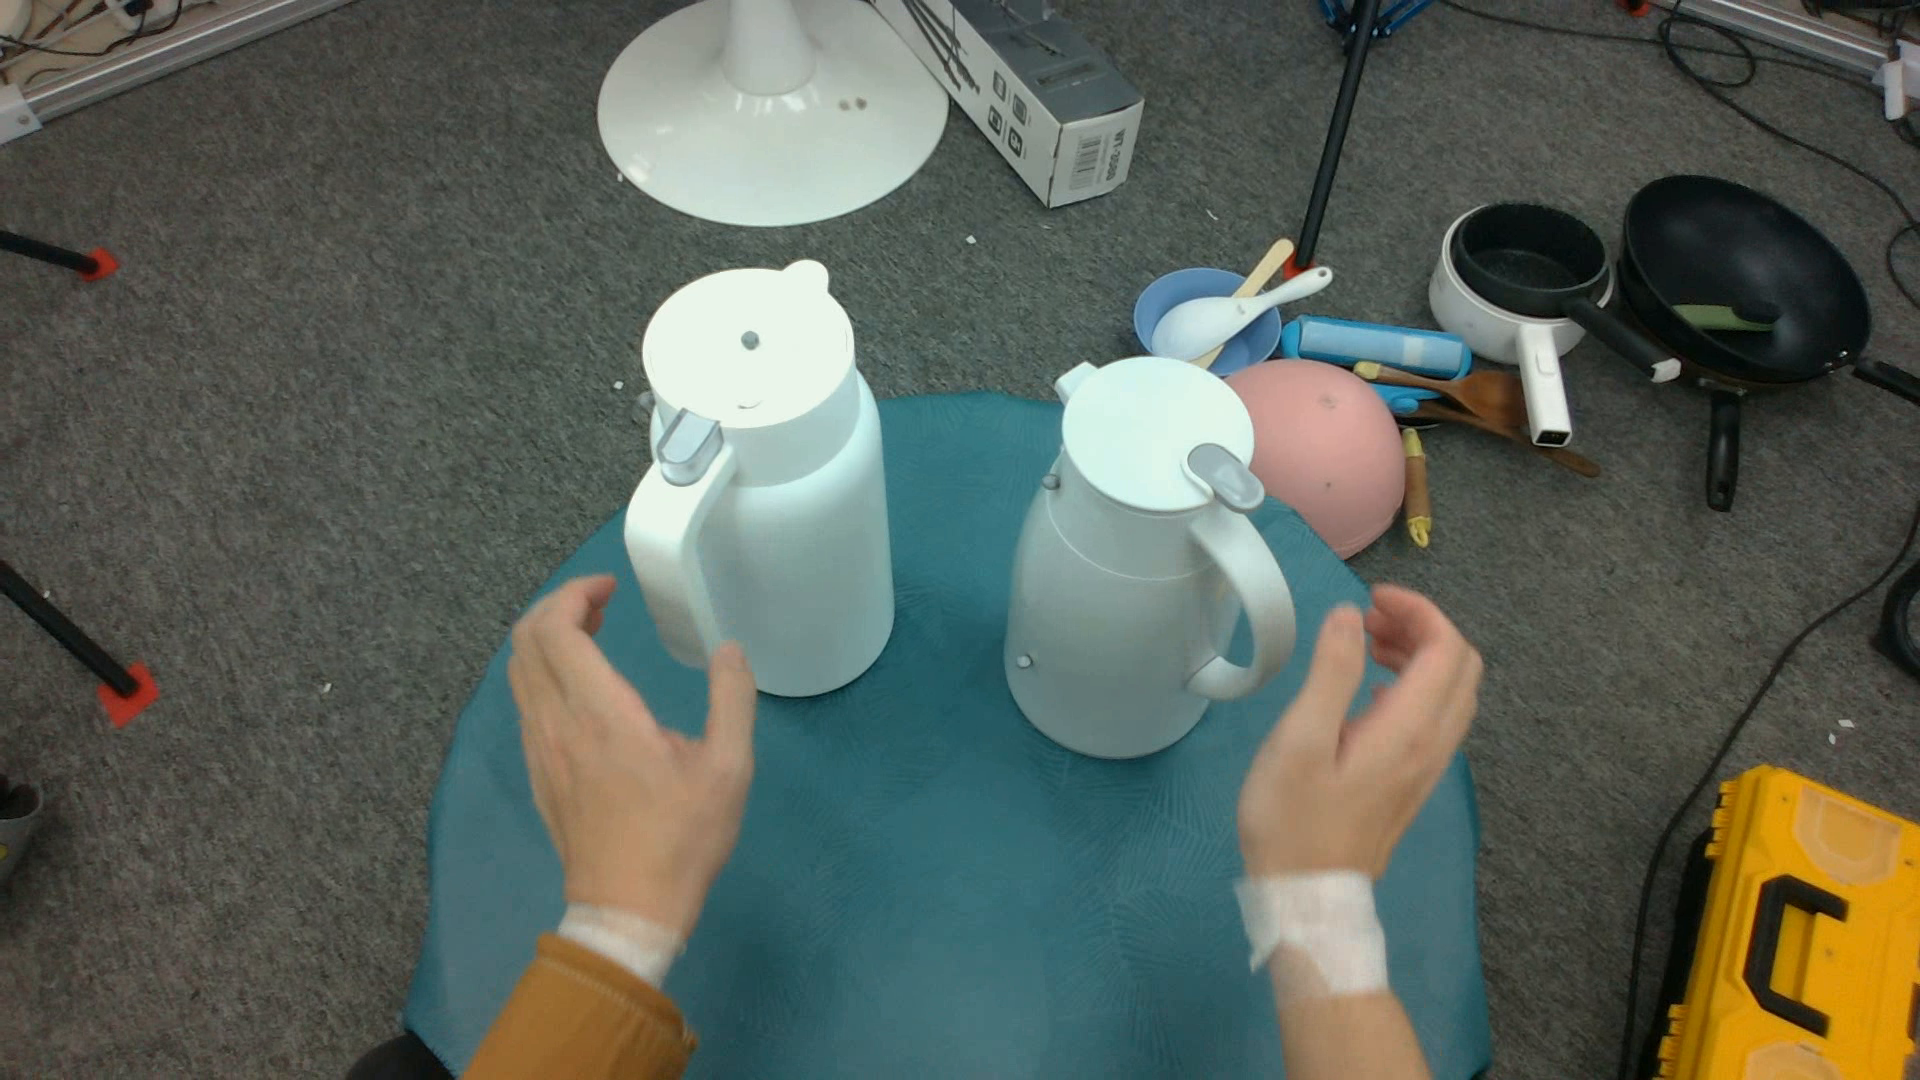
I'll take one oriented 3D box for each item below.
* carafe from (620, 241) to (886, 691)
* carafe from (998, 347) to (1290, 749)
[{"bbox_3d":[-0.108,-0.012,0.746,0.124,0.267,0.173,21,59,9],"label":"carafe"},{"bbox_3d":[0.103,0.016,0.743,0.133,0.247,0.168,-35,65,-21],"label":"carafe"}]
